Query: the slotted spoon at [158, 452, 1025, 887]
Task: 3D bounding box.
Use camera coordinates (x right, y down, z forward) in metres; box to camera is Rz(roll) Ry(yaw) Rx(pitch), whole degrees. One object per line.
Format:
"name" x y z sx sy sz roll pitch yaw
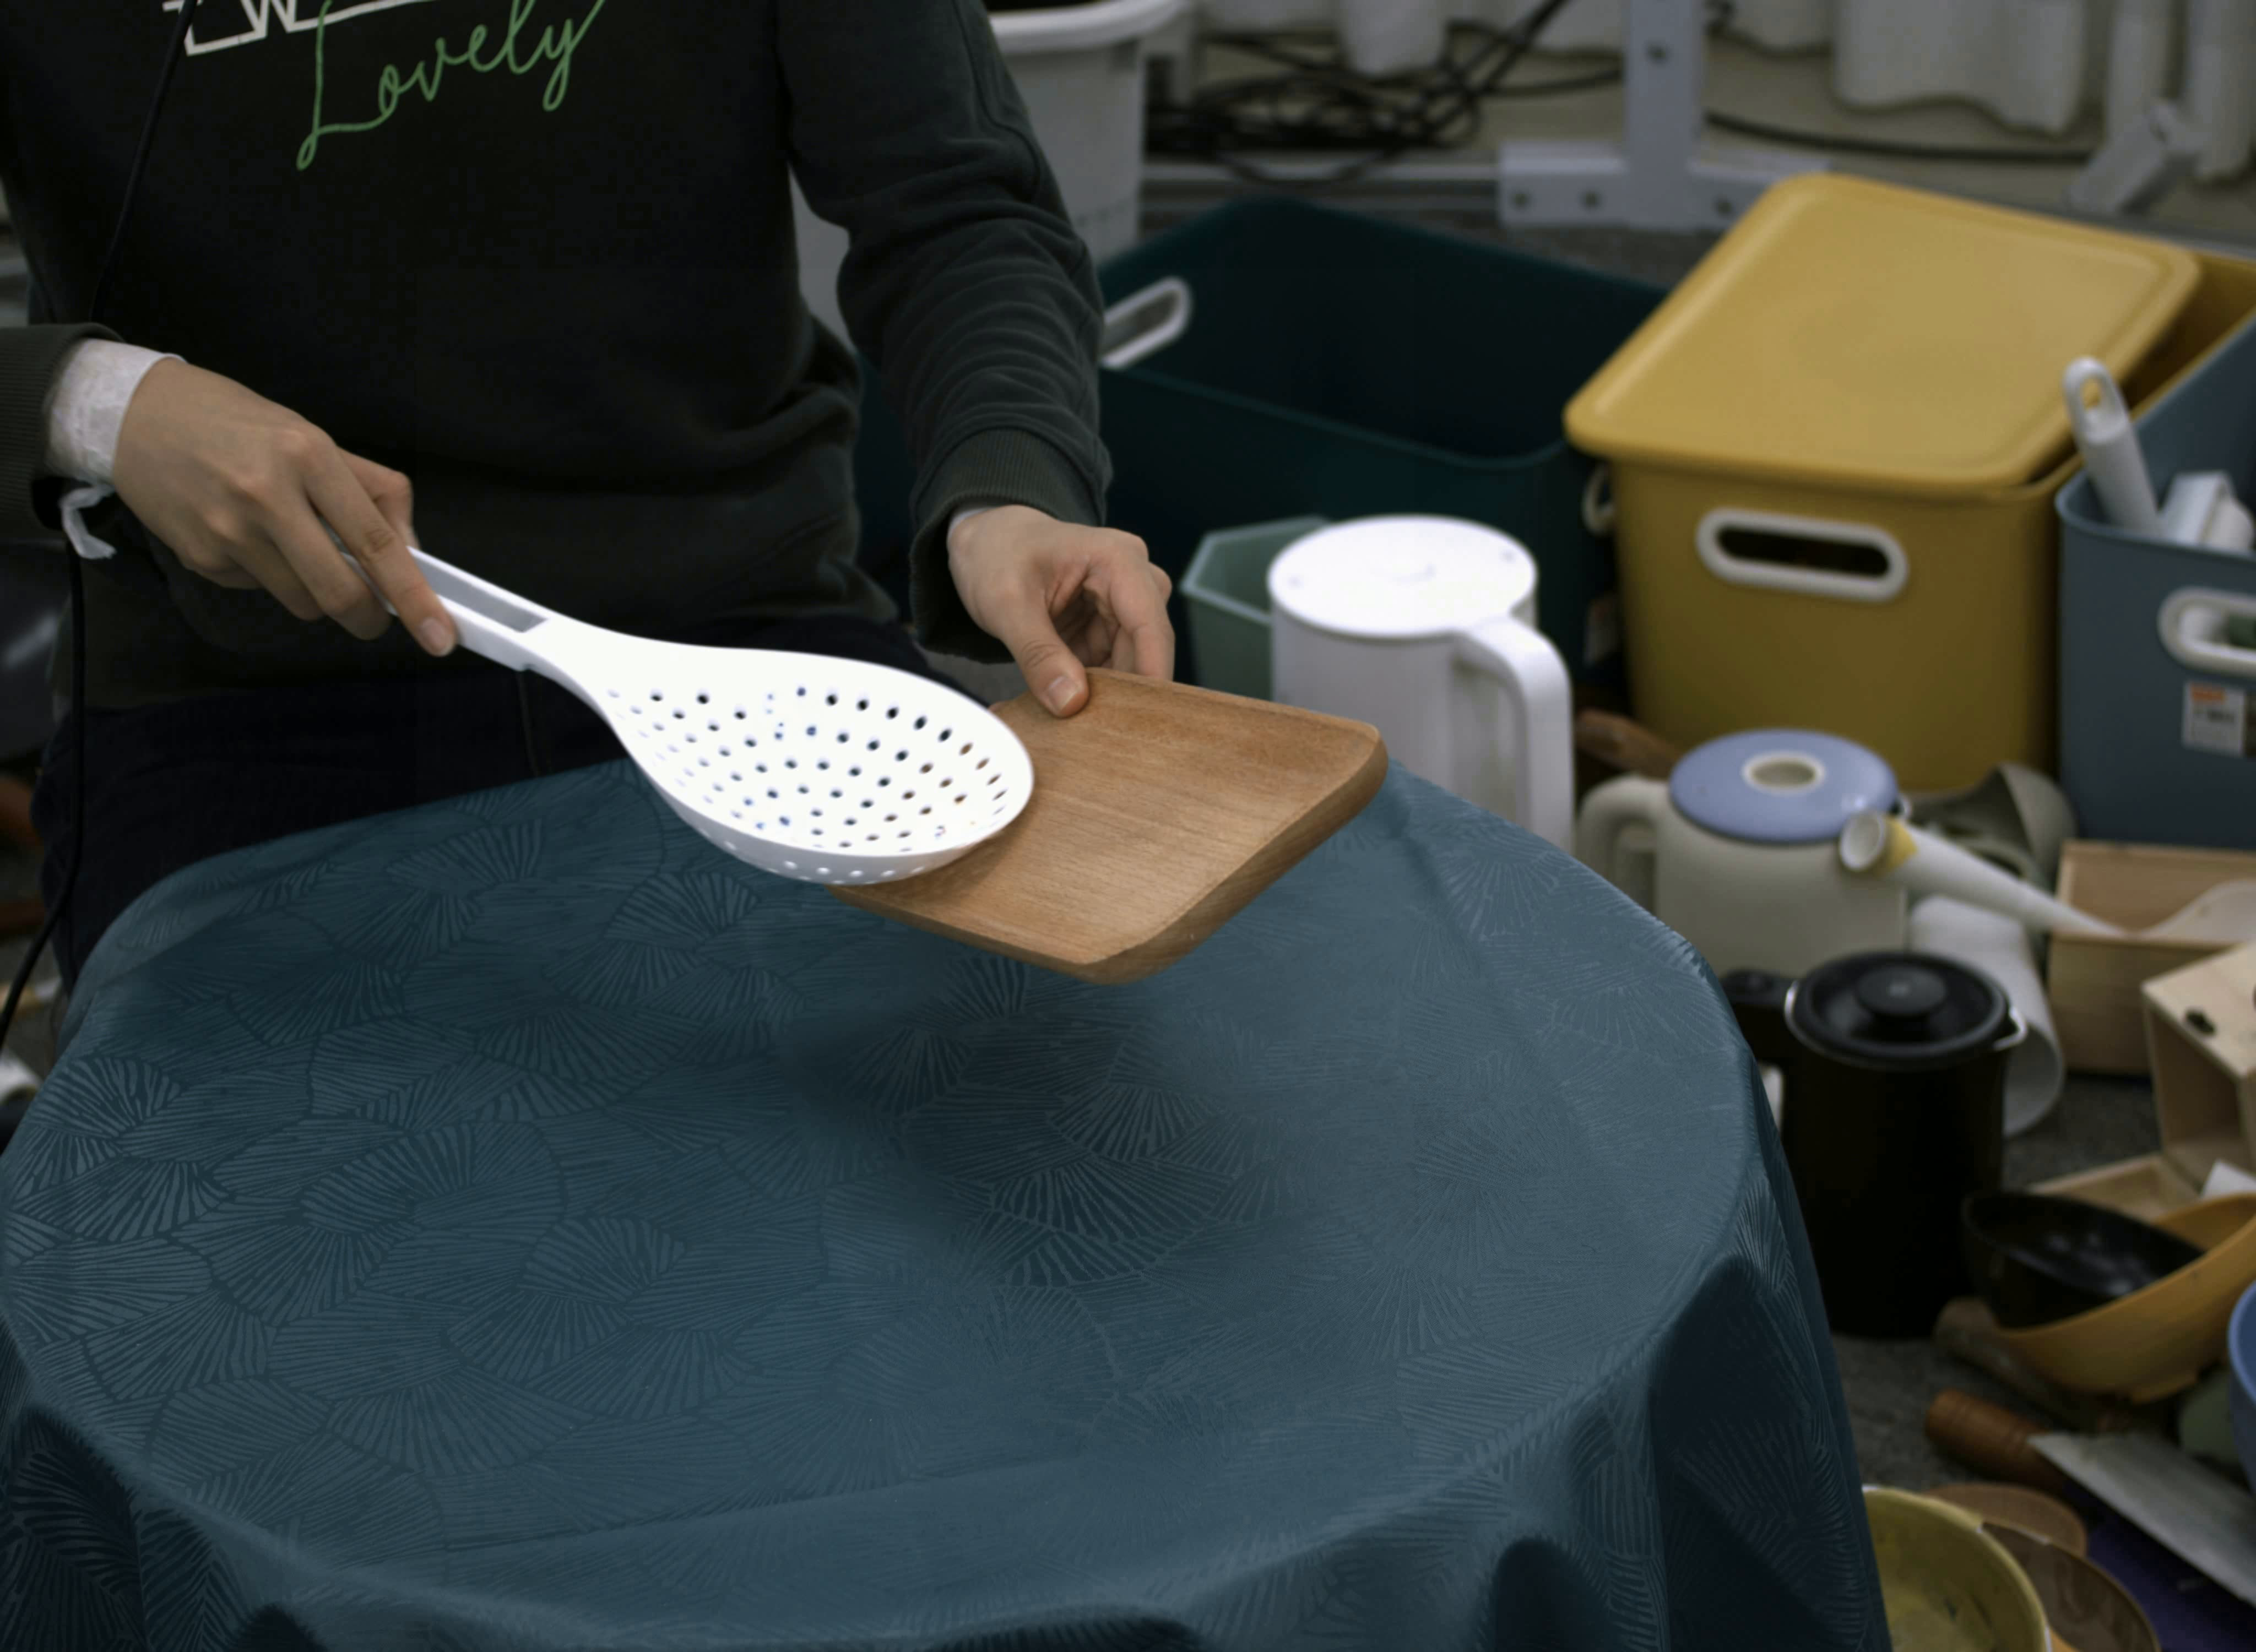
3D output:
"slotted spoon" -0.194 -0.058 1.943 0.349 0.045 0.138 28 30 20

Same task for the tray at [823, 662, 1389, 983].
"tray" -0.010 -0.003 1.860 0.131 0.023 0.250 -37 20 -18
